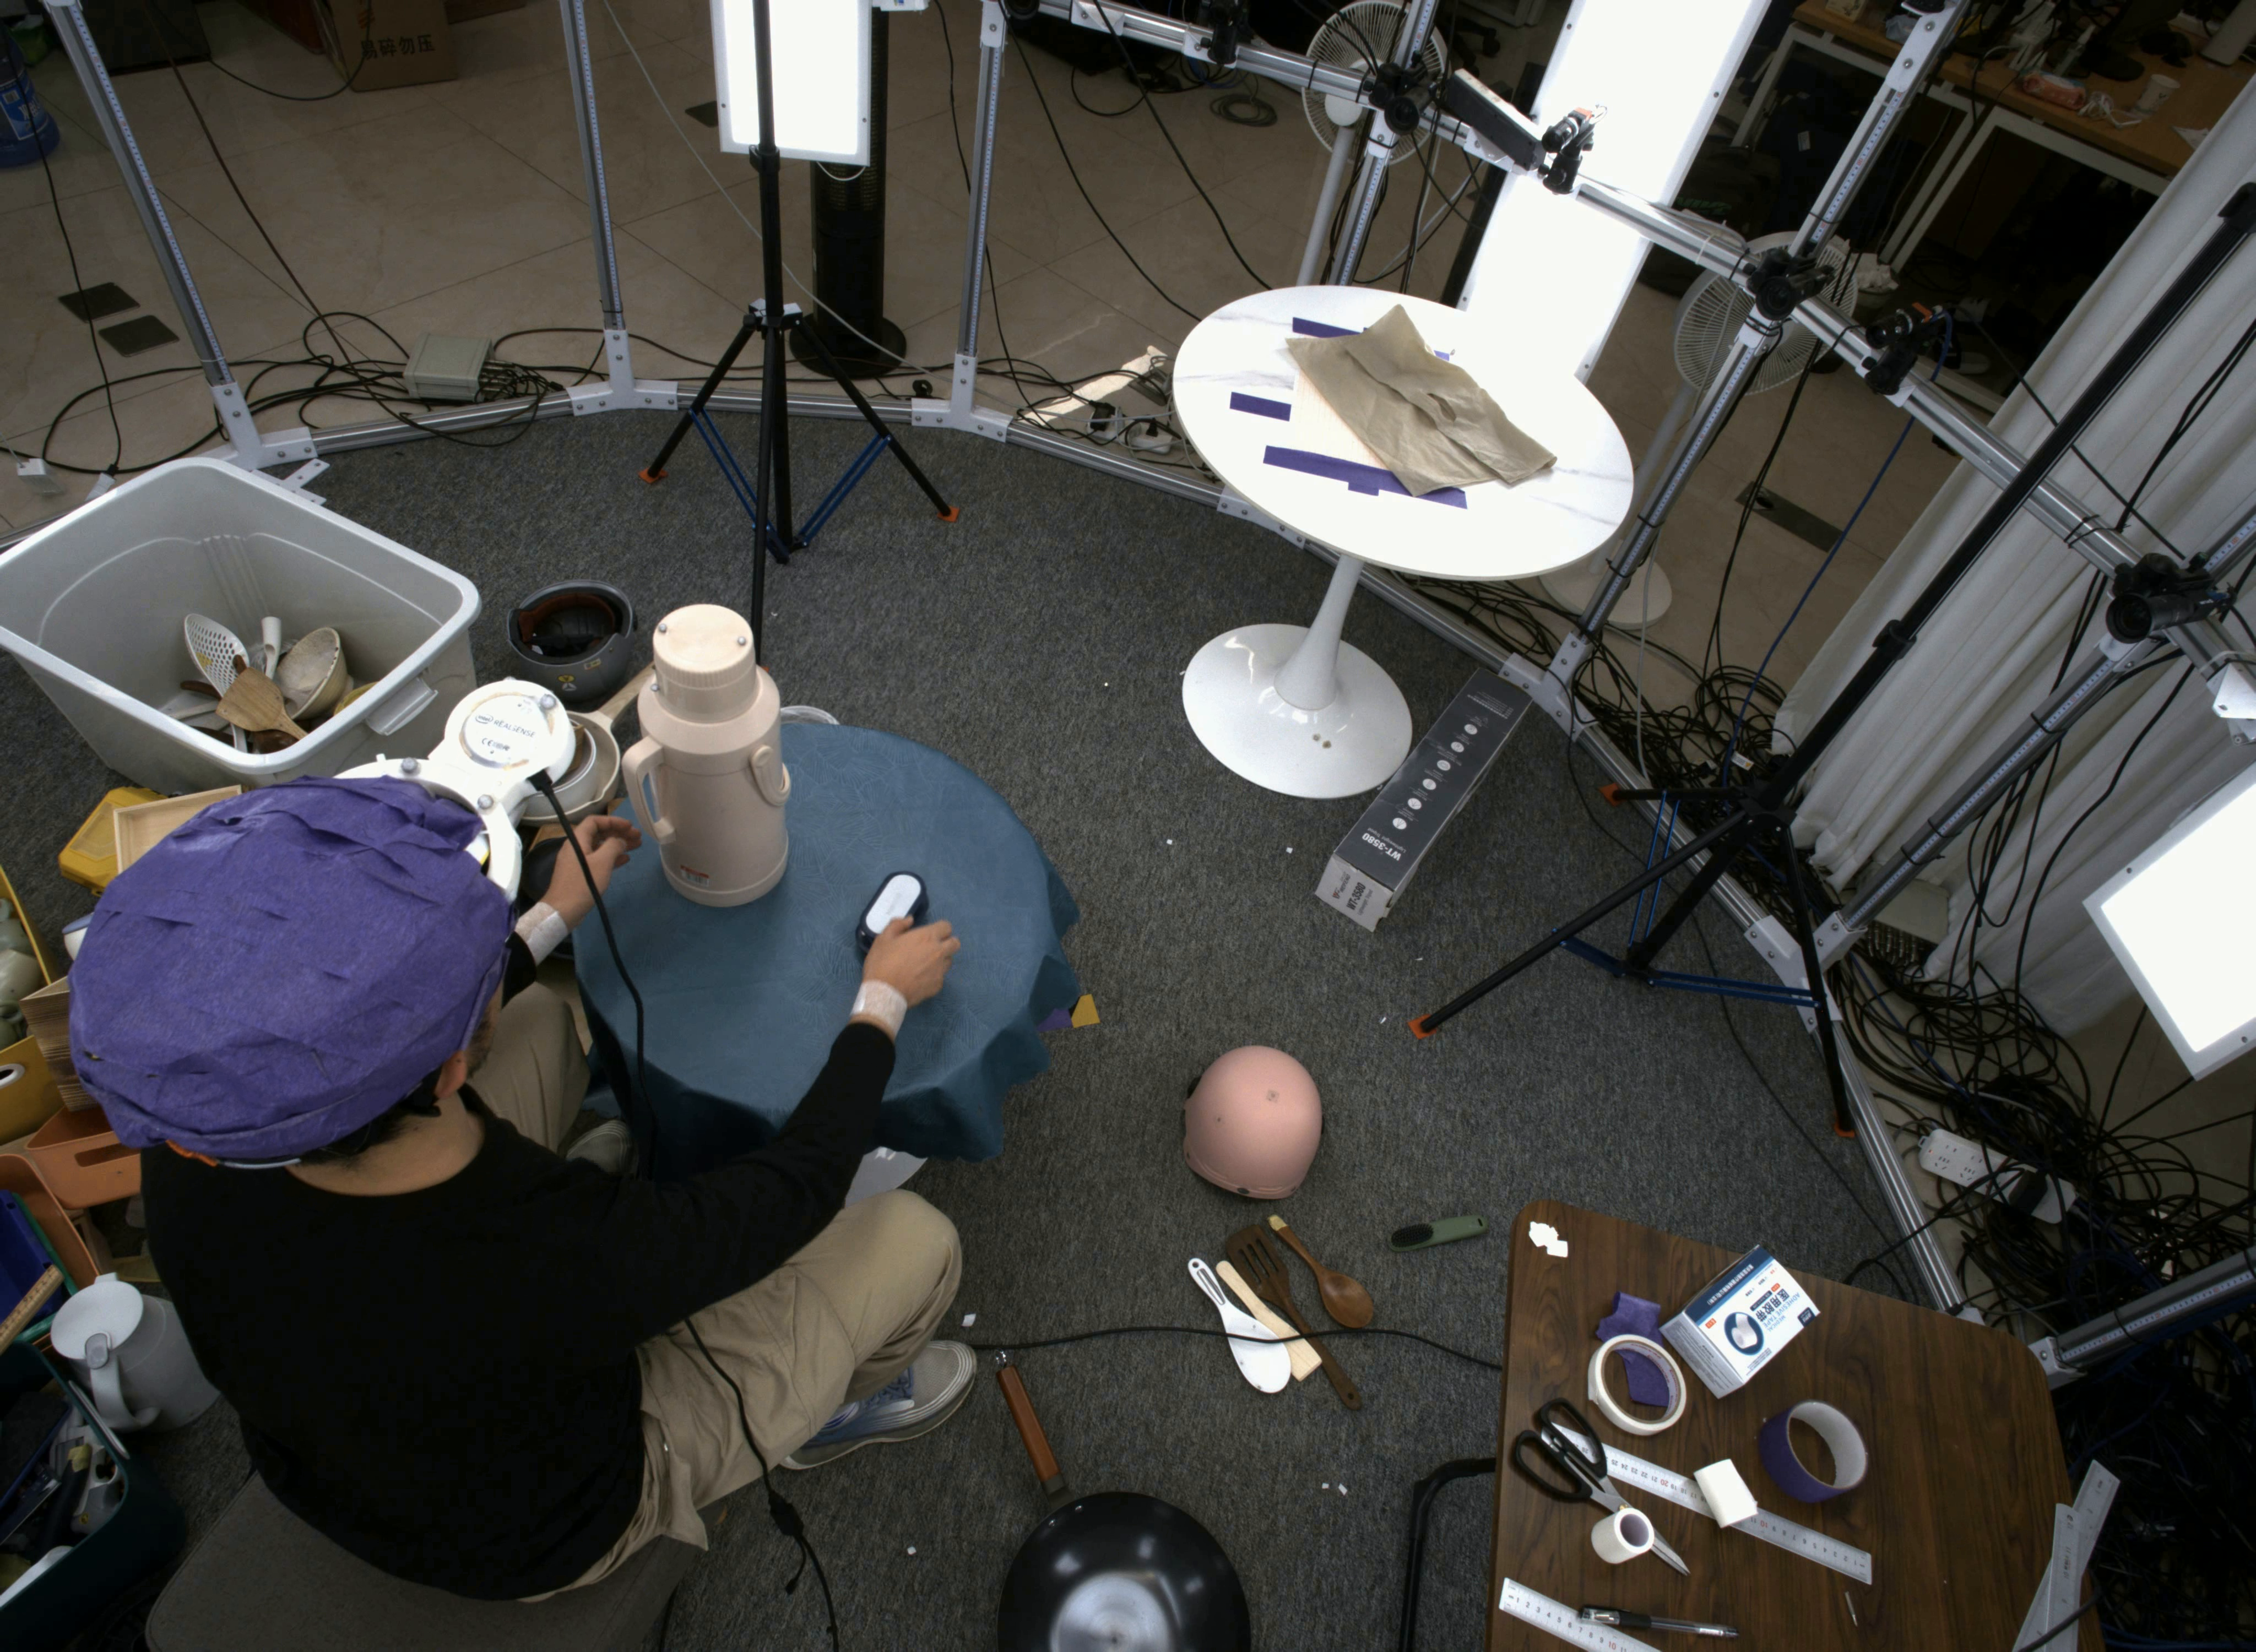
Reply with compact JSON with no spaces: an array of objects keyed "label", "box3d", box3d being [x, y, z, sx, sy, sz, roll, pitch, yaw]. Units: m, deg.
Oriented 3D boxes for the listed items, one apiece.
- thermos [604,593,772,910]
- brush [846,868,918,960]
[{"label":"thermos","box3d":[-0.515,-0.076,1.494,0.172,0.414,0.207,34,53,14]},{"label":"brush","box3d":[-0.308,0.110,1.632,0.067,0.062,0.120,22,51,7]}]
